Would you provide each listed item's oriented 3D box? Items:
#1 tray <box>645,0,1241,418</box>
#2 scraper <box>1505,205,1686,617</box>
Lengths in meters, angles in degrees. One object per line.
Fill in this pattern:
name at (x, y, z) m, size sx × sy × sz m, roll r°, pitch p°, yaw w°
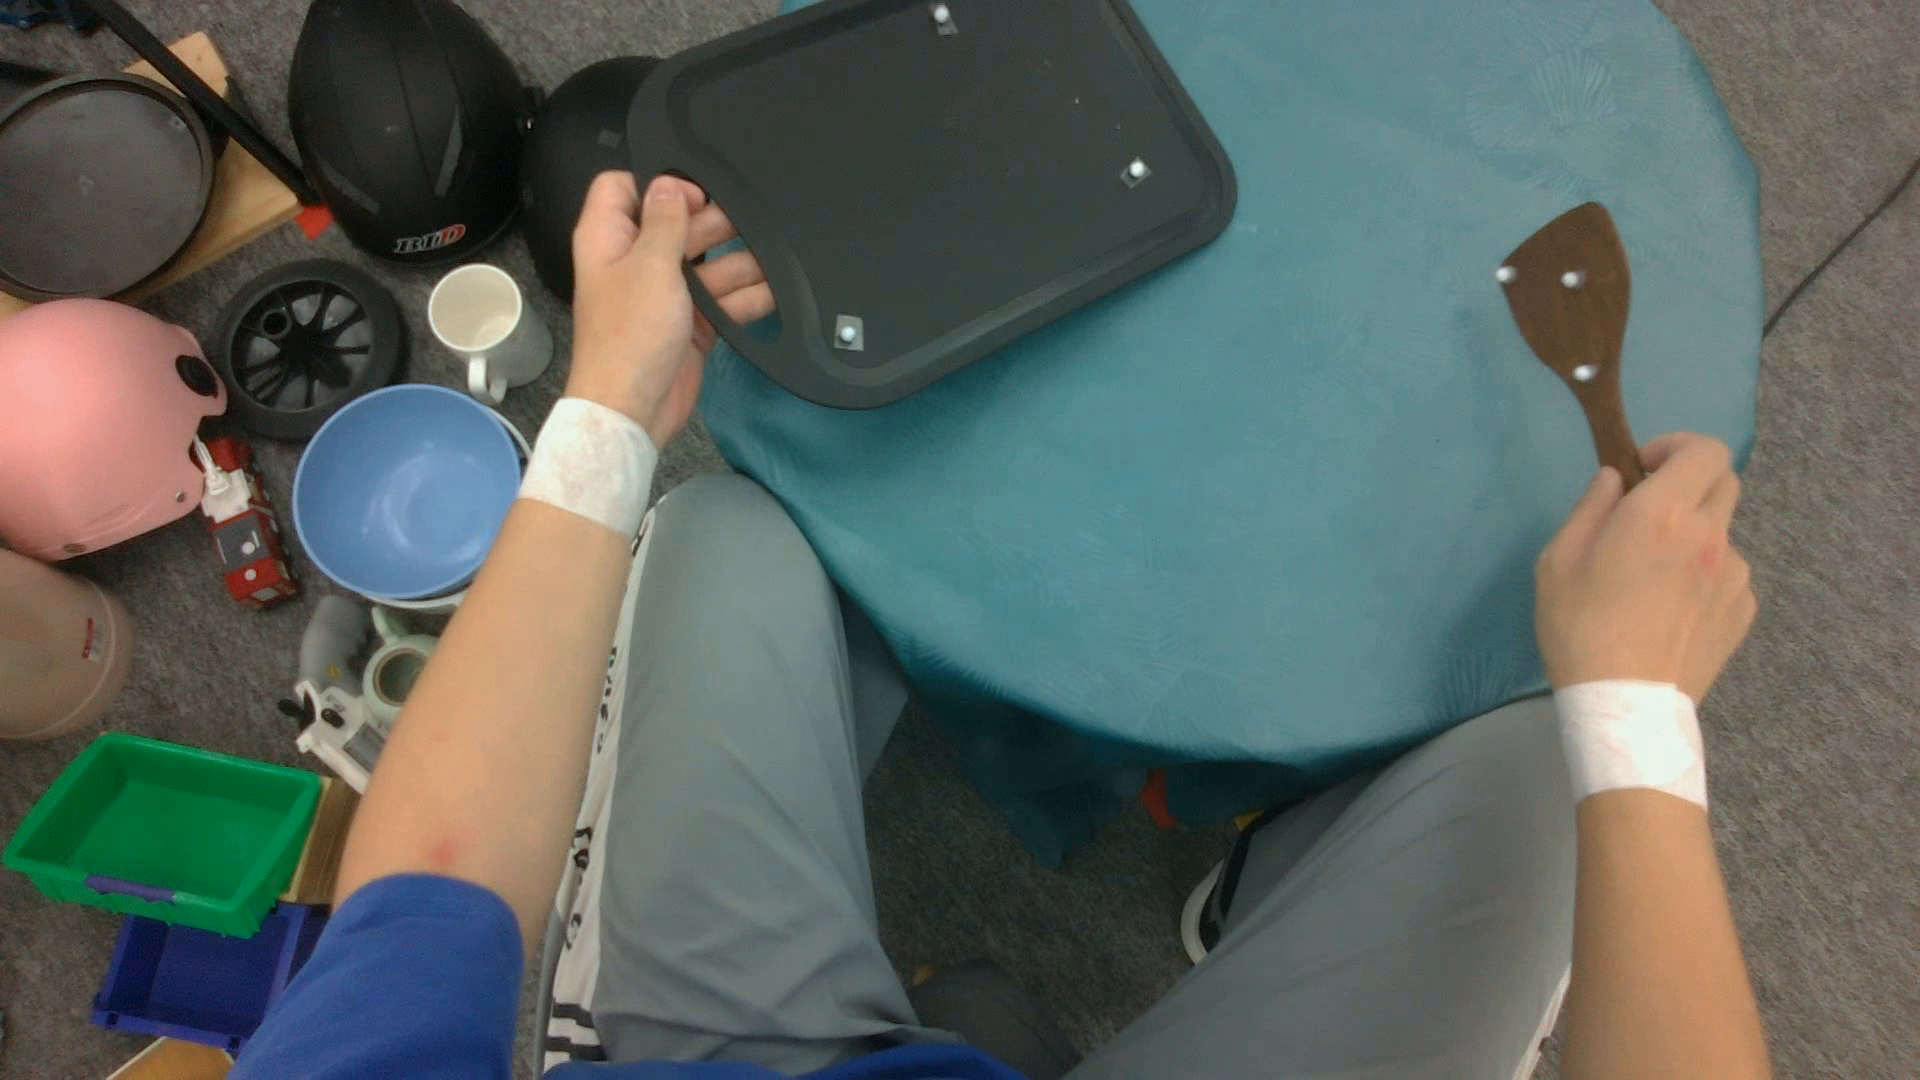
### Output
tray at (-0.004, -0.198, 0.748) m, size 0.326 × 0.010 × 0.211 m, roll -30°, pitch 83°, yaw -24°
scraper at (0.329, -0.064, 0.699) m, size 0.011 × 0.075 × 0.212 m, roll -1°, pitch 72°, yaw -21°
